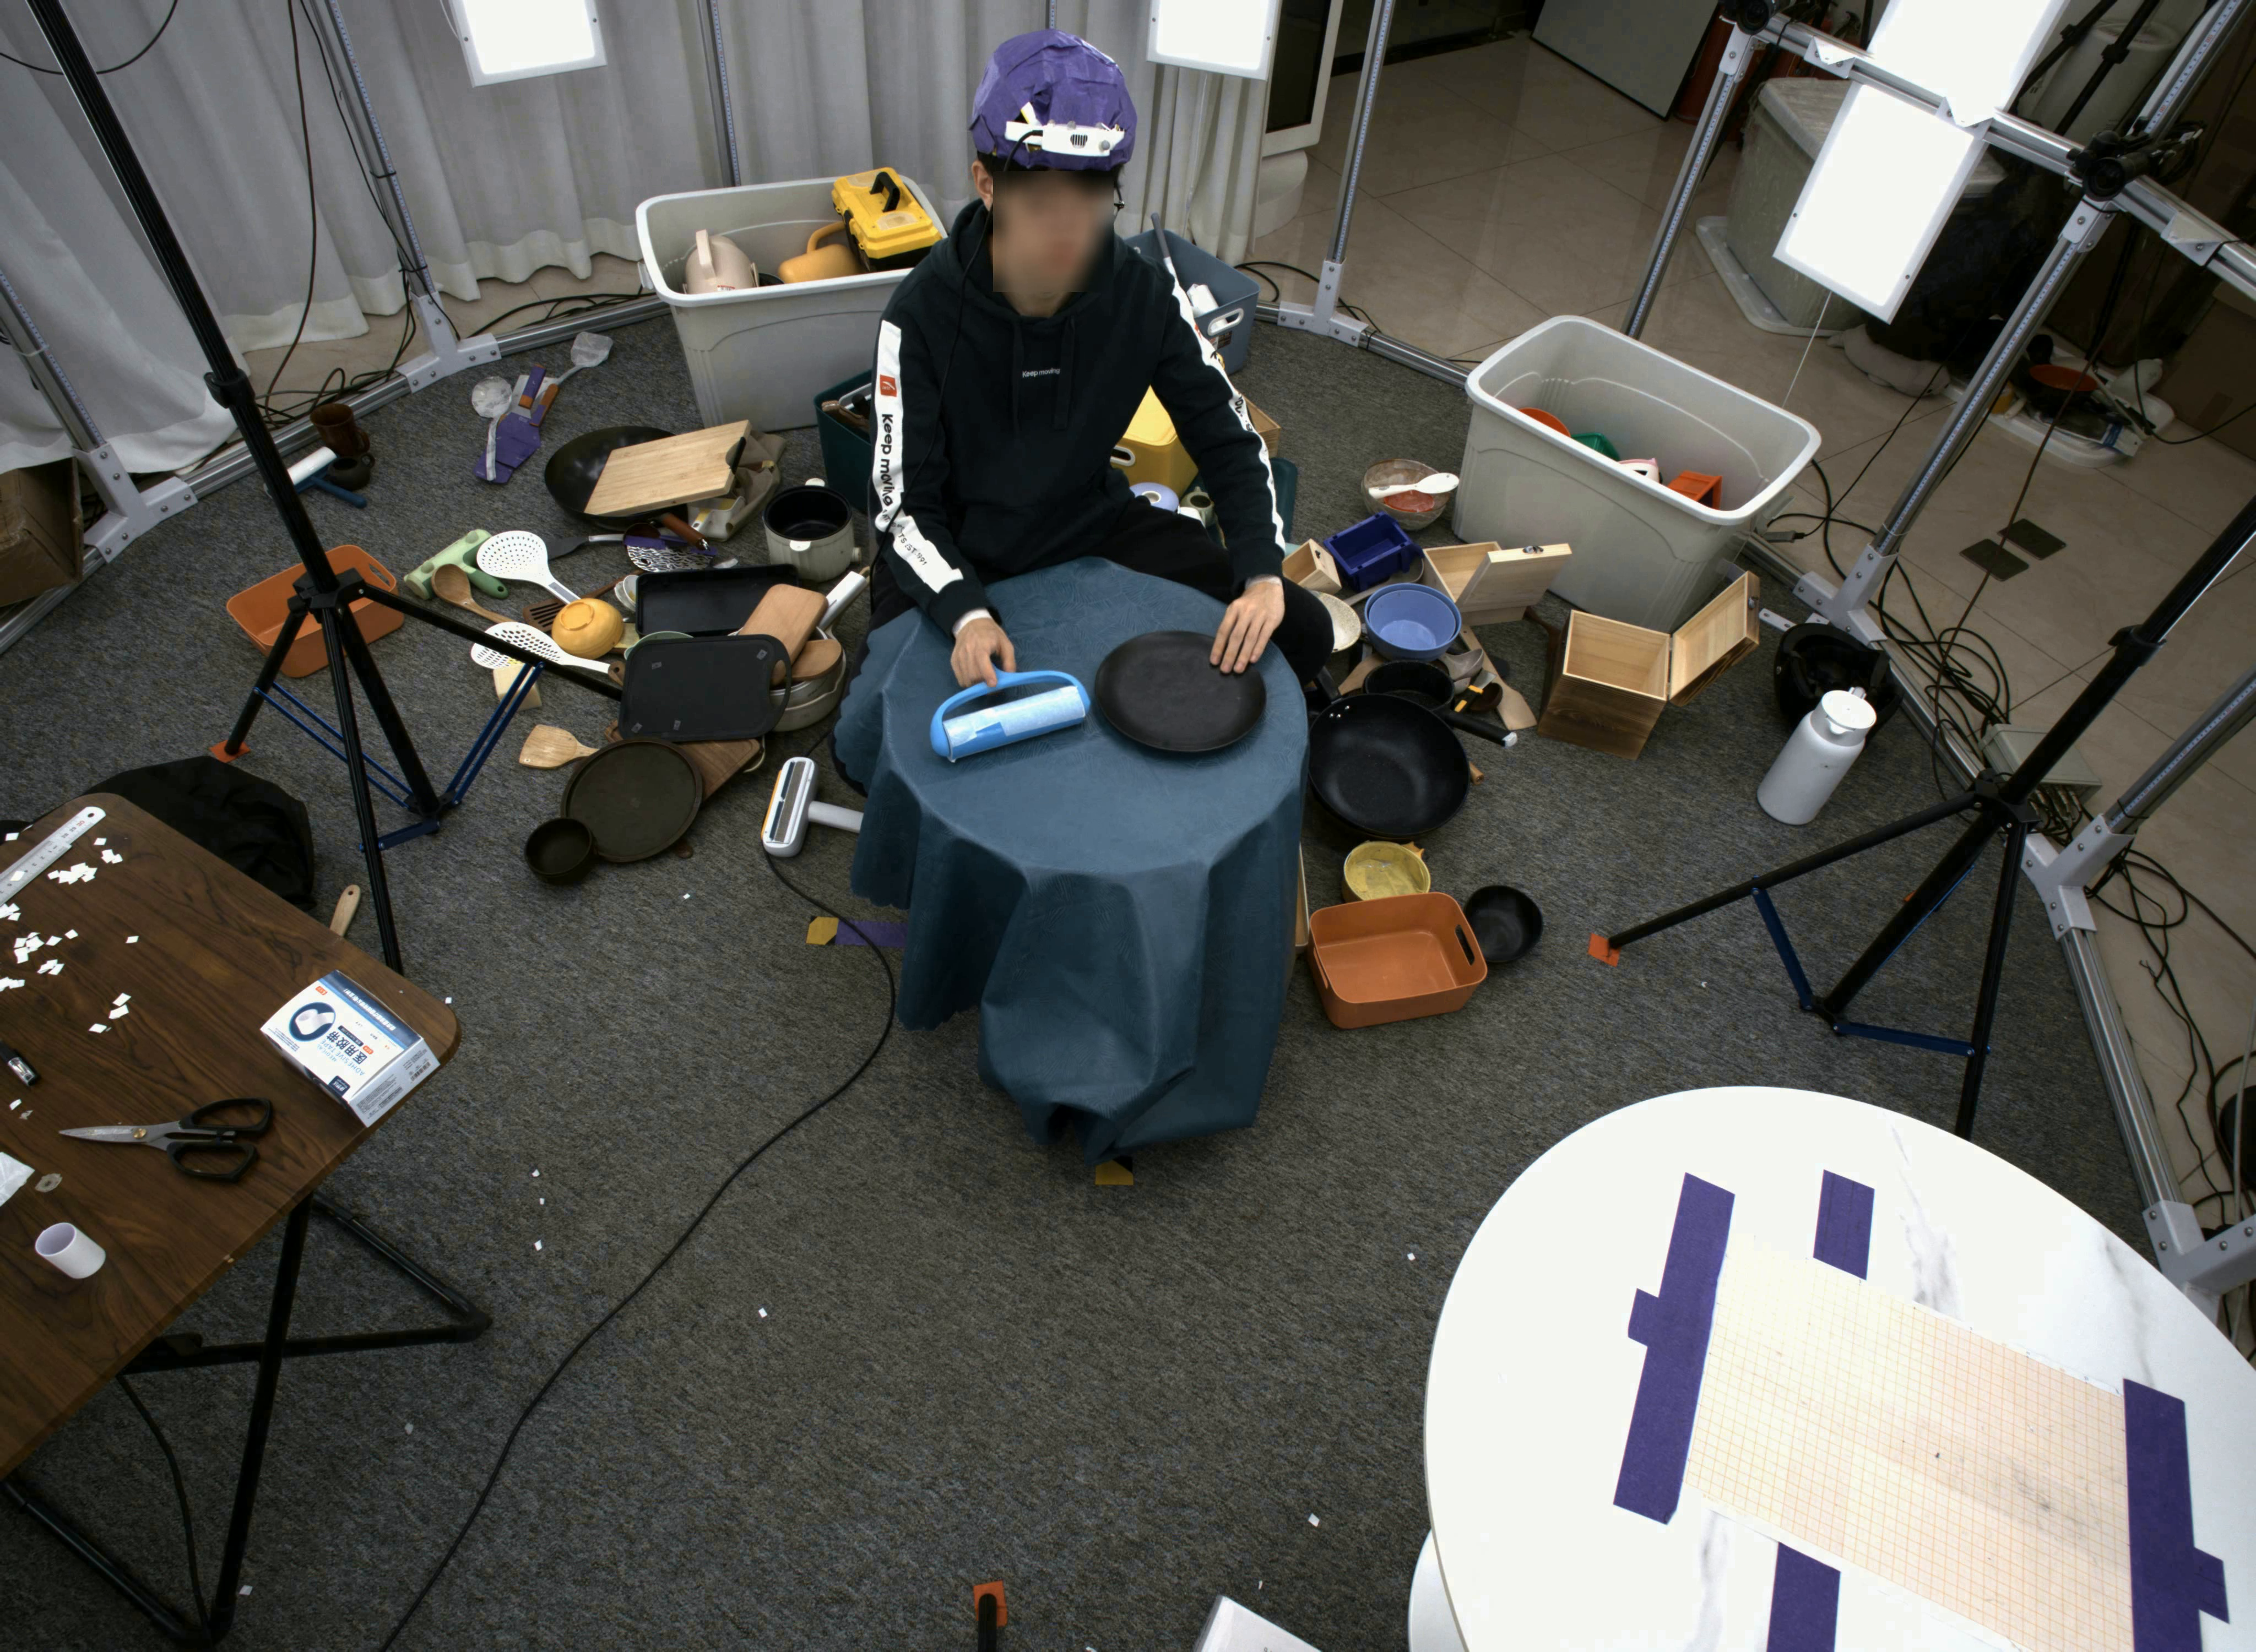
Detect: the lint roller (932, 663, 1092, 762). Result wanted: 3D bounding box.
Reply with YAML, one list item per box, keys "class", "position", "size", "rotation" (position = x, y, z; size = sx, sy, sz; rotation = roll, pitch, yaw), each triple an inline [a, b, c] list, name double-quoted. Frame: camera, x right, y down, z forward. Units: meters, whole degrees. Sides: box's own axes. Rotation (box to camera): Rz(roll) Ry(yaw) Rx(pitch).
- class: "lint roller"
  position: [-0.183, -0.182, 1.778]
  size: [0.229, 0.066, 0.184]
  rotation: [-21, 53, -19]

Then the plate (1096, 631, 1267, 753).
- class: "plate"
  position: [0.075, -0.188, 1.821]
  size: [0.244, 0.023, 0.250]
  rotation: [2, 49, -2]
